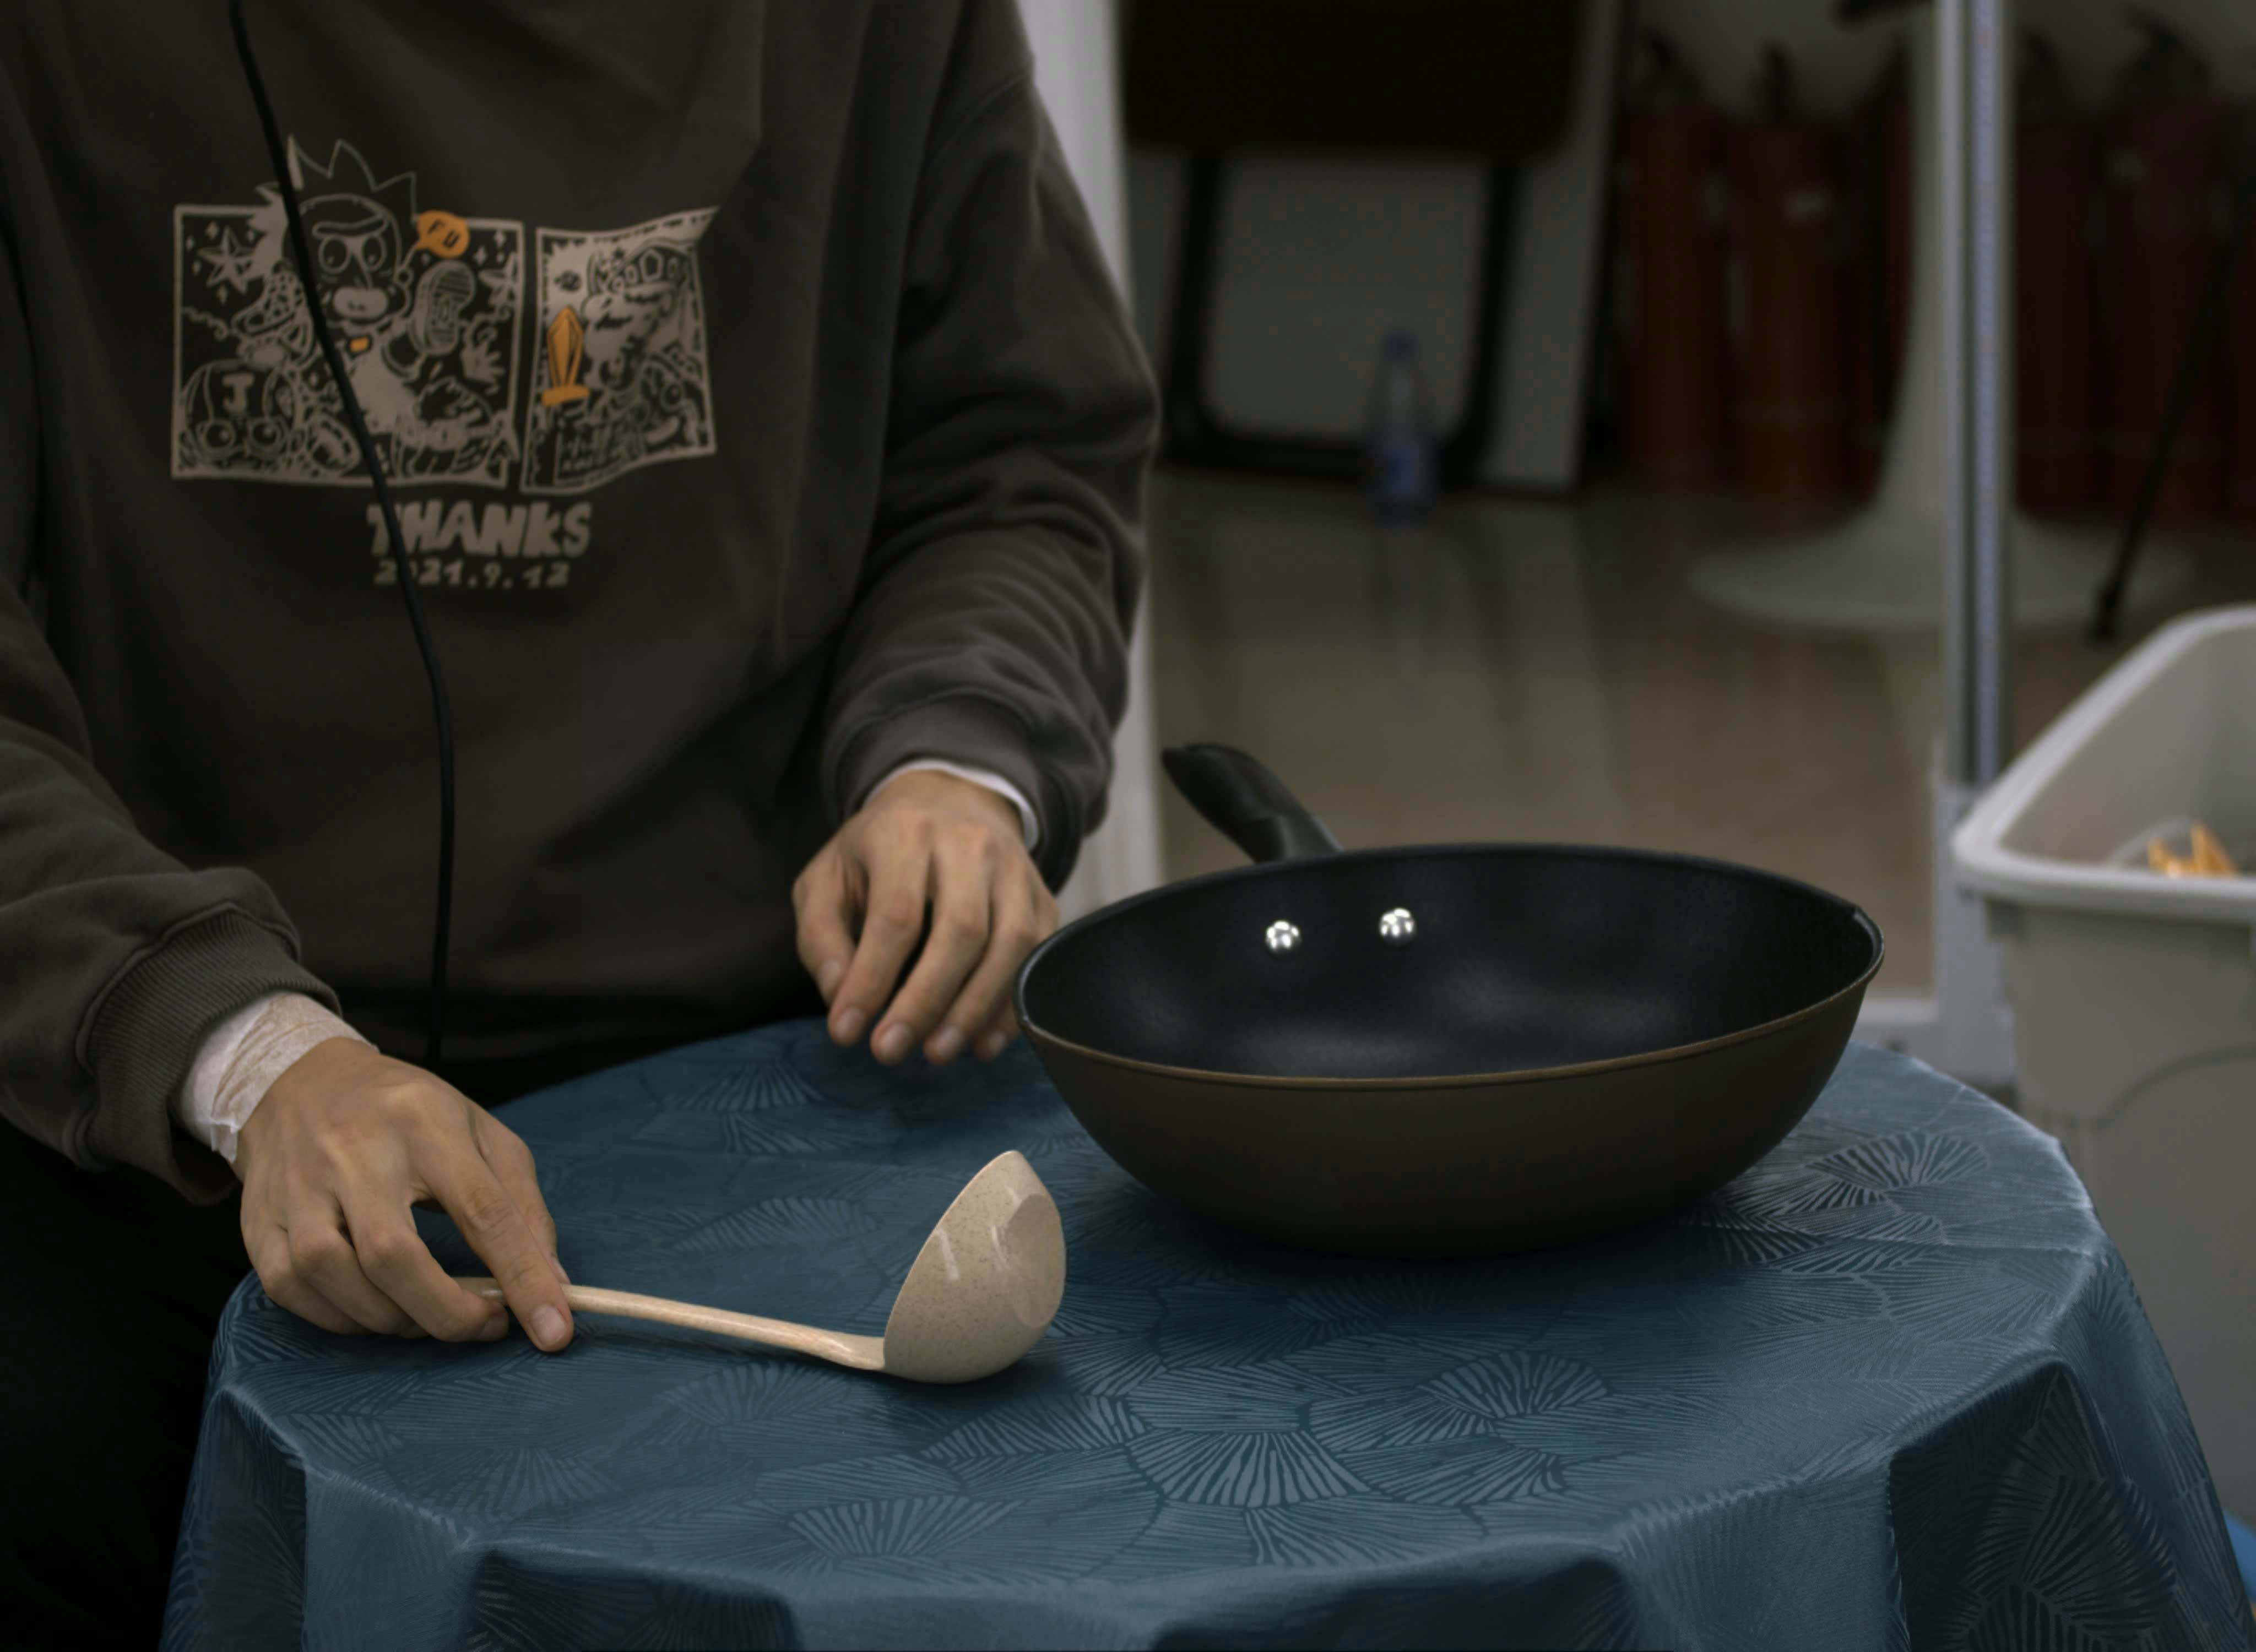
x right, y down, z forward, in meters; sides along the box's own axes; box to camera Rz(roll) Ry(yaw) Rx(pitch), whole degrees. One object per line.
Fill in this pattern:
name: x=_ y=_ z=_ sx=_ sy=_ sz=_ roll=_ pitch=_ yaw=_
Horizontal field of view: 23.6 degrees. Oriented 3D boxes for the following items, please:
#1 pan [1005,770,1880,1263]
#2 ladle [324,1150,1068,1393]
pan: x=0.081 y=0.061 z=1.826 sx=0.283 sy=0.088 sz=0.466 roll=-7 pitch=13 yaw=-12
ladle: x=-0.139 y=0.126 z=1.642 sx=0.255 sy=0.073 sz=0.071 roll=4 pitch=16 yaw=25
